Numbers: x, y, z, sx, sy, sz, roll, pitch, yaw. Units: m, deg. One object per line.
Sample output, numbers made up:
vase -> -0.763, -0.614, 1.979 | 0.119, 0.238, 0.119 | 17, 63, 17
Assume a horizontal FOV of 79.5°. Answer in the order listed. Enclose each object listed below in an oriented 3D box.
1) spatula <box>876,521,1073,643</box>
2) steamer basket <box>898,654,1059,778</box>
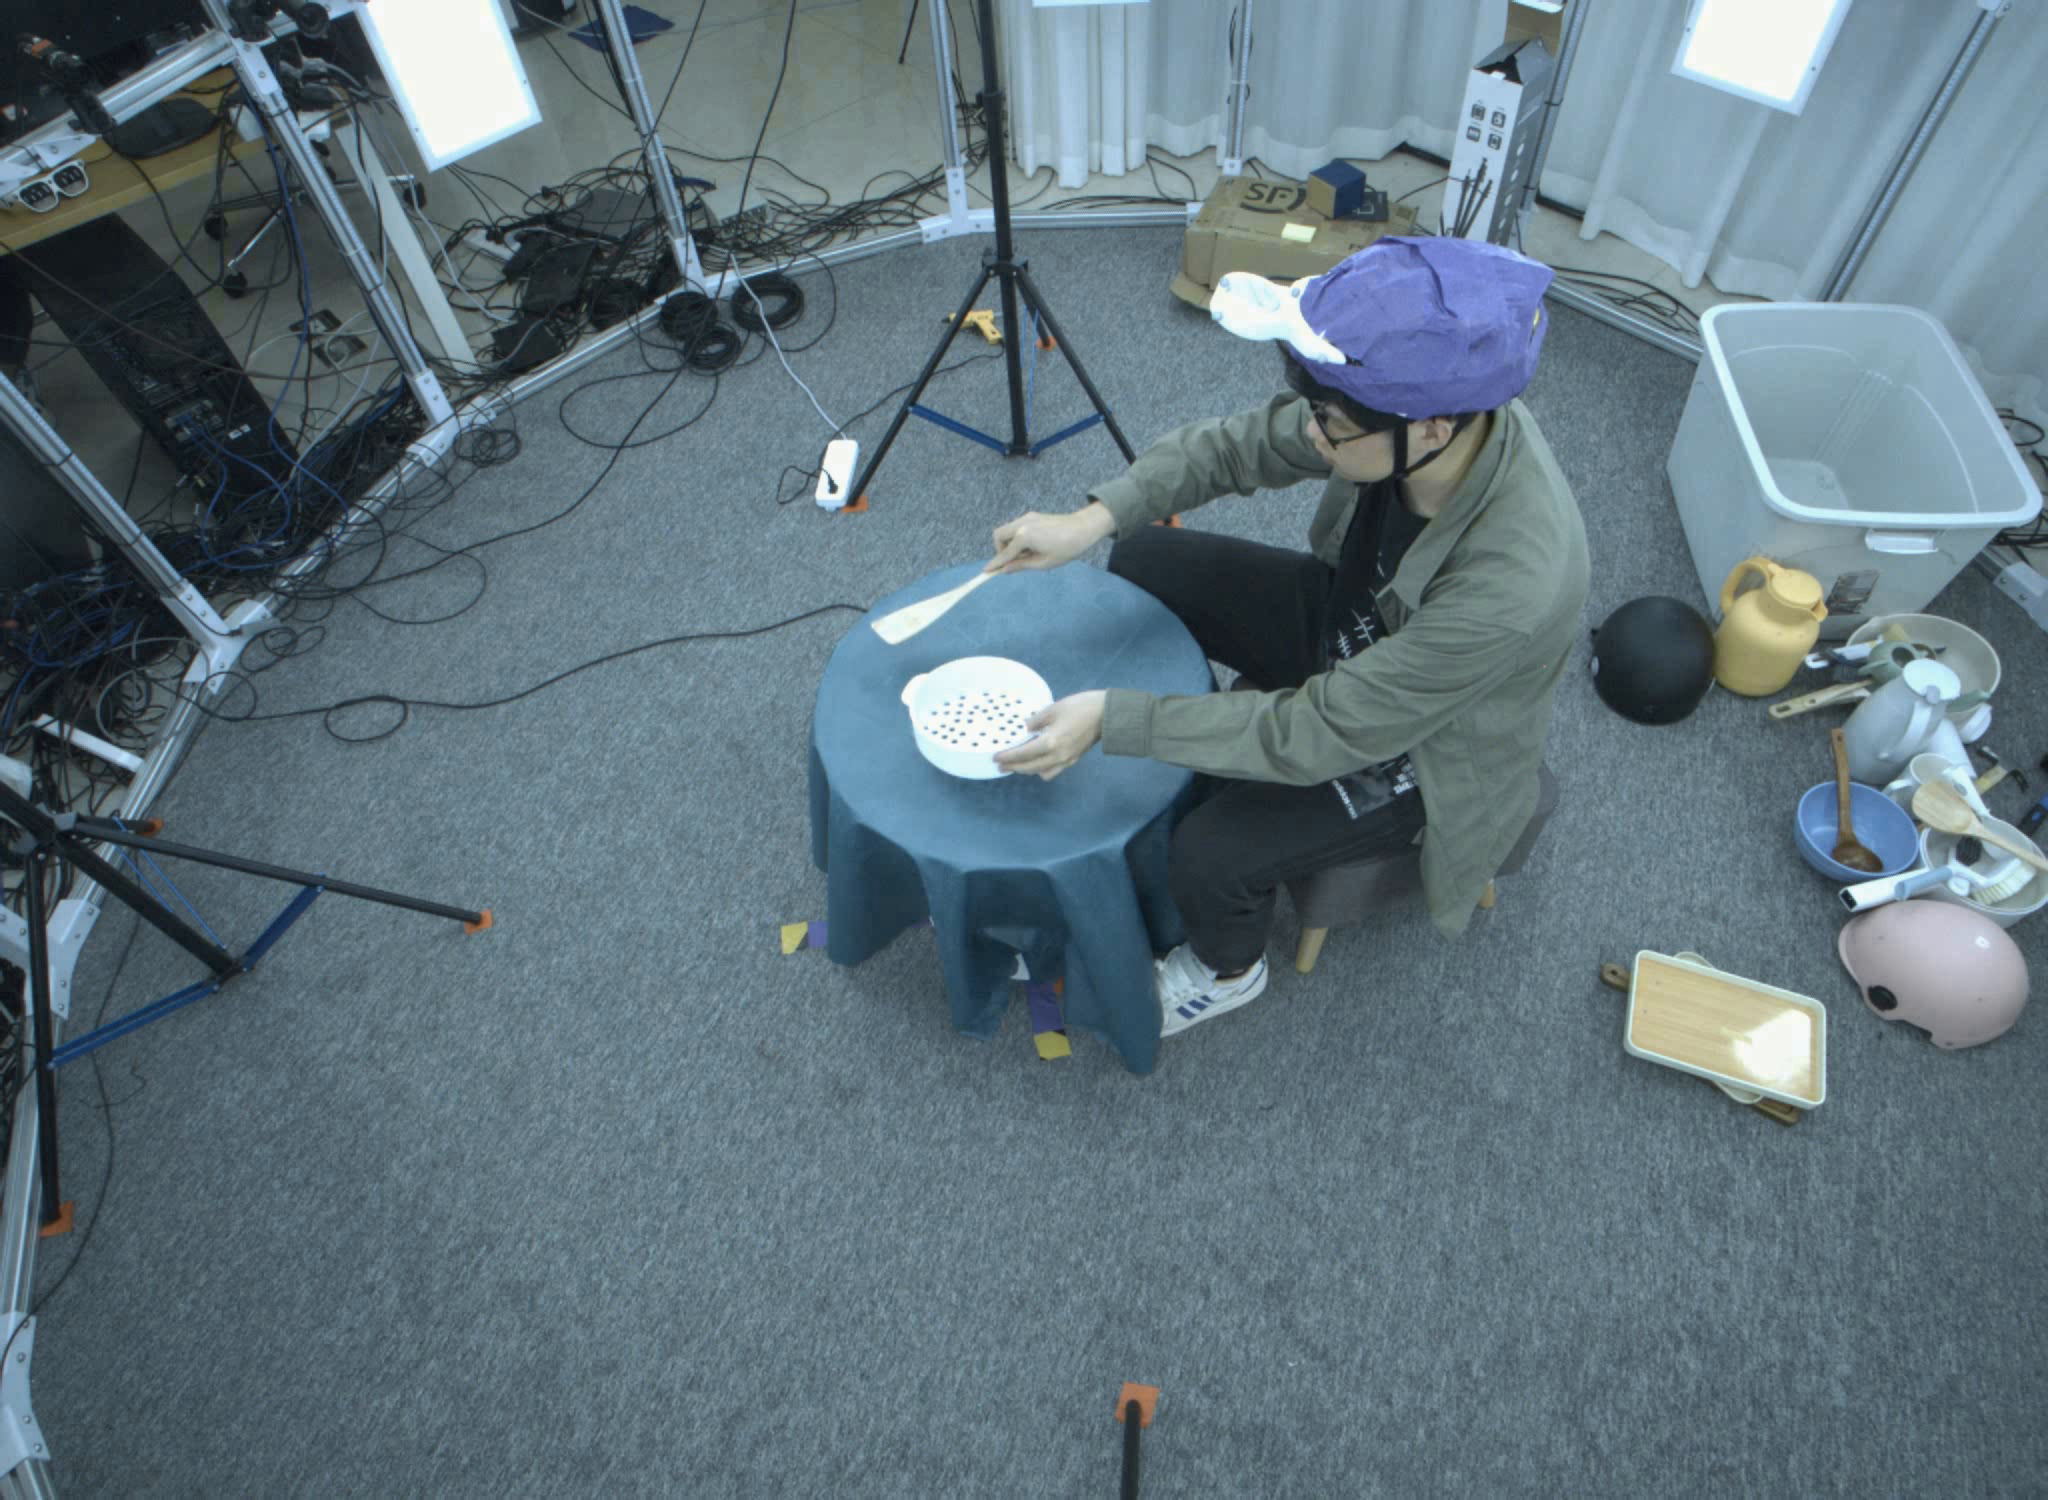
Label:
spatula -> -0.069, -0.253, 1.813 | 0.328, 0.017, 0.078 | -32, 42, -2
steamer basket -> -0.064, -0.047, 1.747 | 0.228, 0.070, 0.201 | 13, 47, 12
